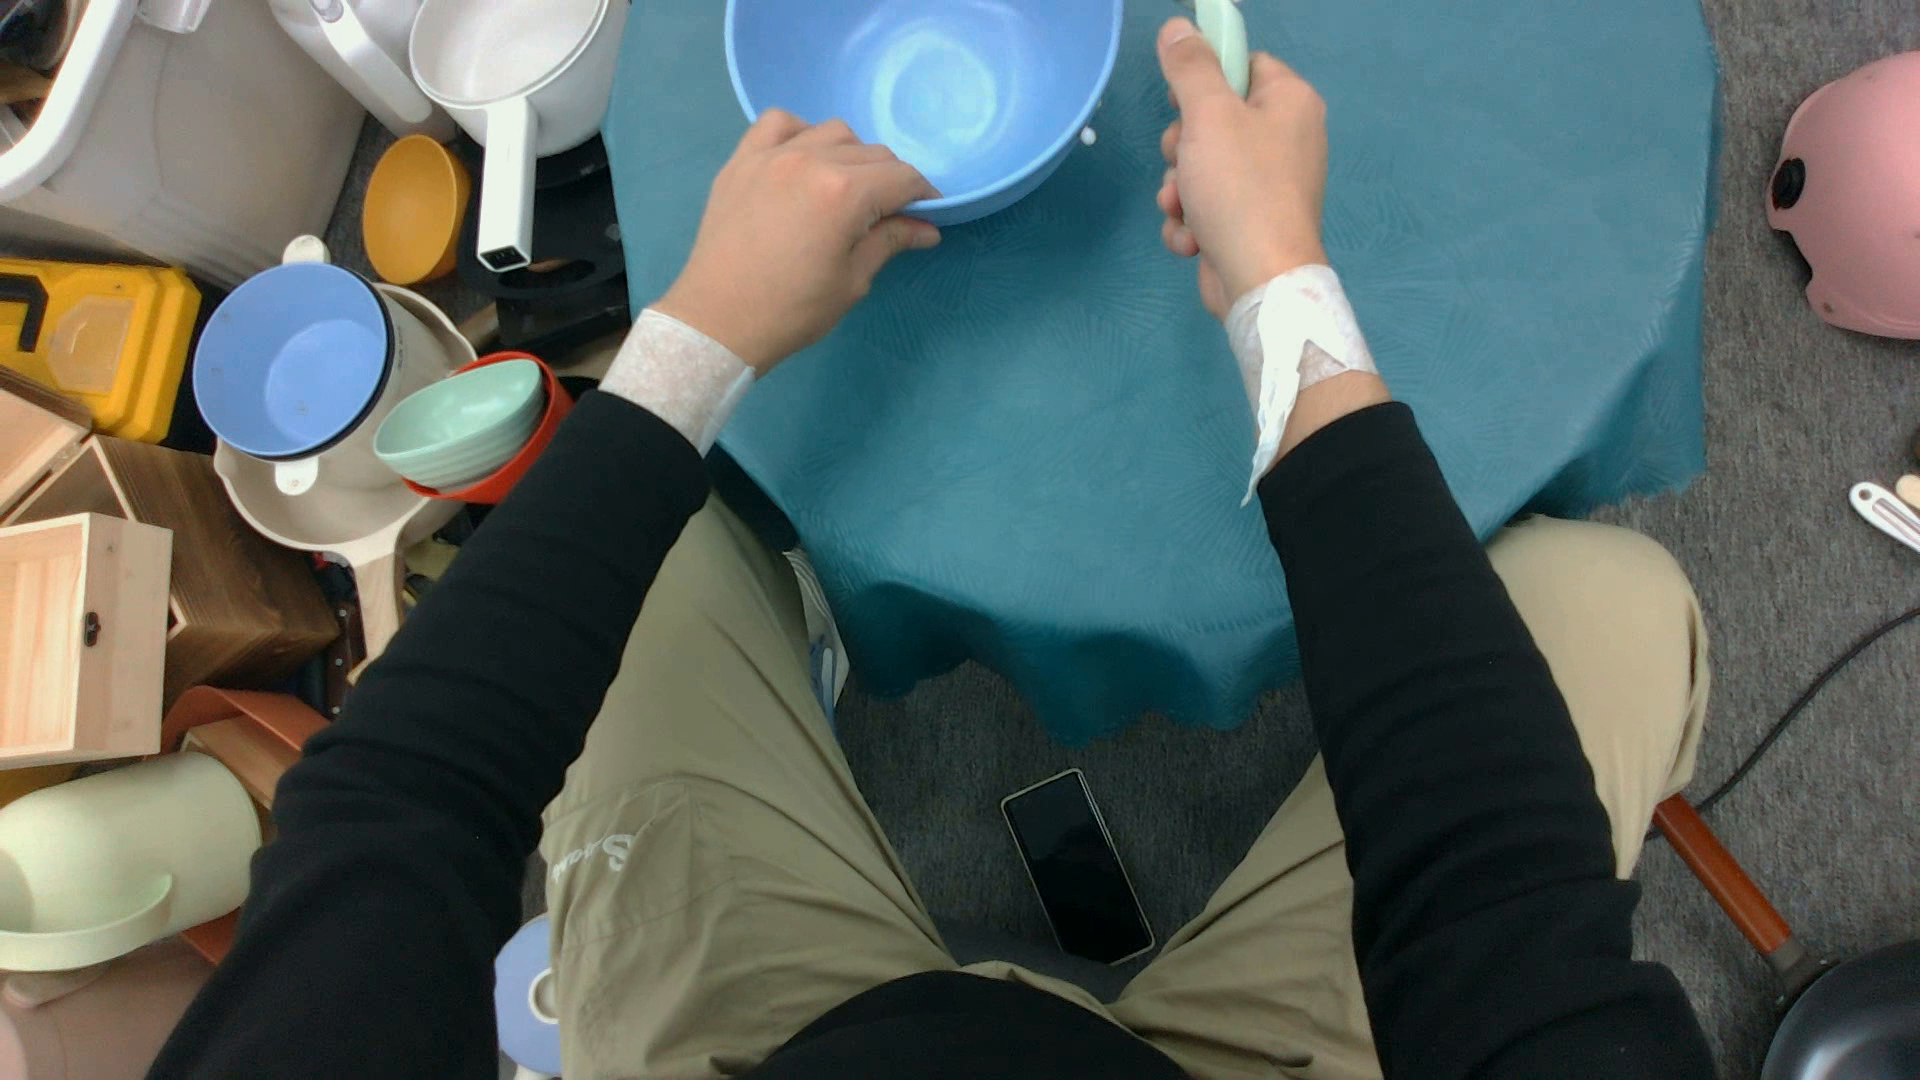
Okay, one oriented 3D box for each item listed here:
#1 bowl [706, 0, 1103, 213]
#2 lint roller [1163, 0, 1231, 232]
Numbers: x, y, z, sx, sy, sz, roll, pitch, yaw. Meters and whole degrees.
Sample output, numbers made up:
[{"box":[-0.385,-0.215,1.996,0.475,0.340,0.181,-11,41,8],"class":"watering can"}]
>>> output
[{"box":[-0.025,-0.253,0.721,0.196,0.095,0.197,-1,80,4],"class":"bowl"},{"box":[0.096,-0.236,0.625,0.048,0.117,0.198,-18,75,22],"class":"lint roller"}]
